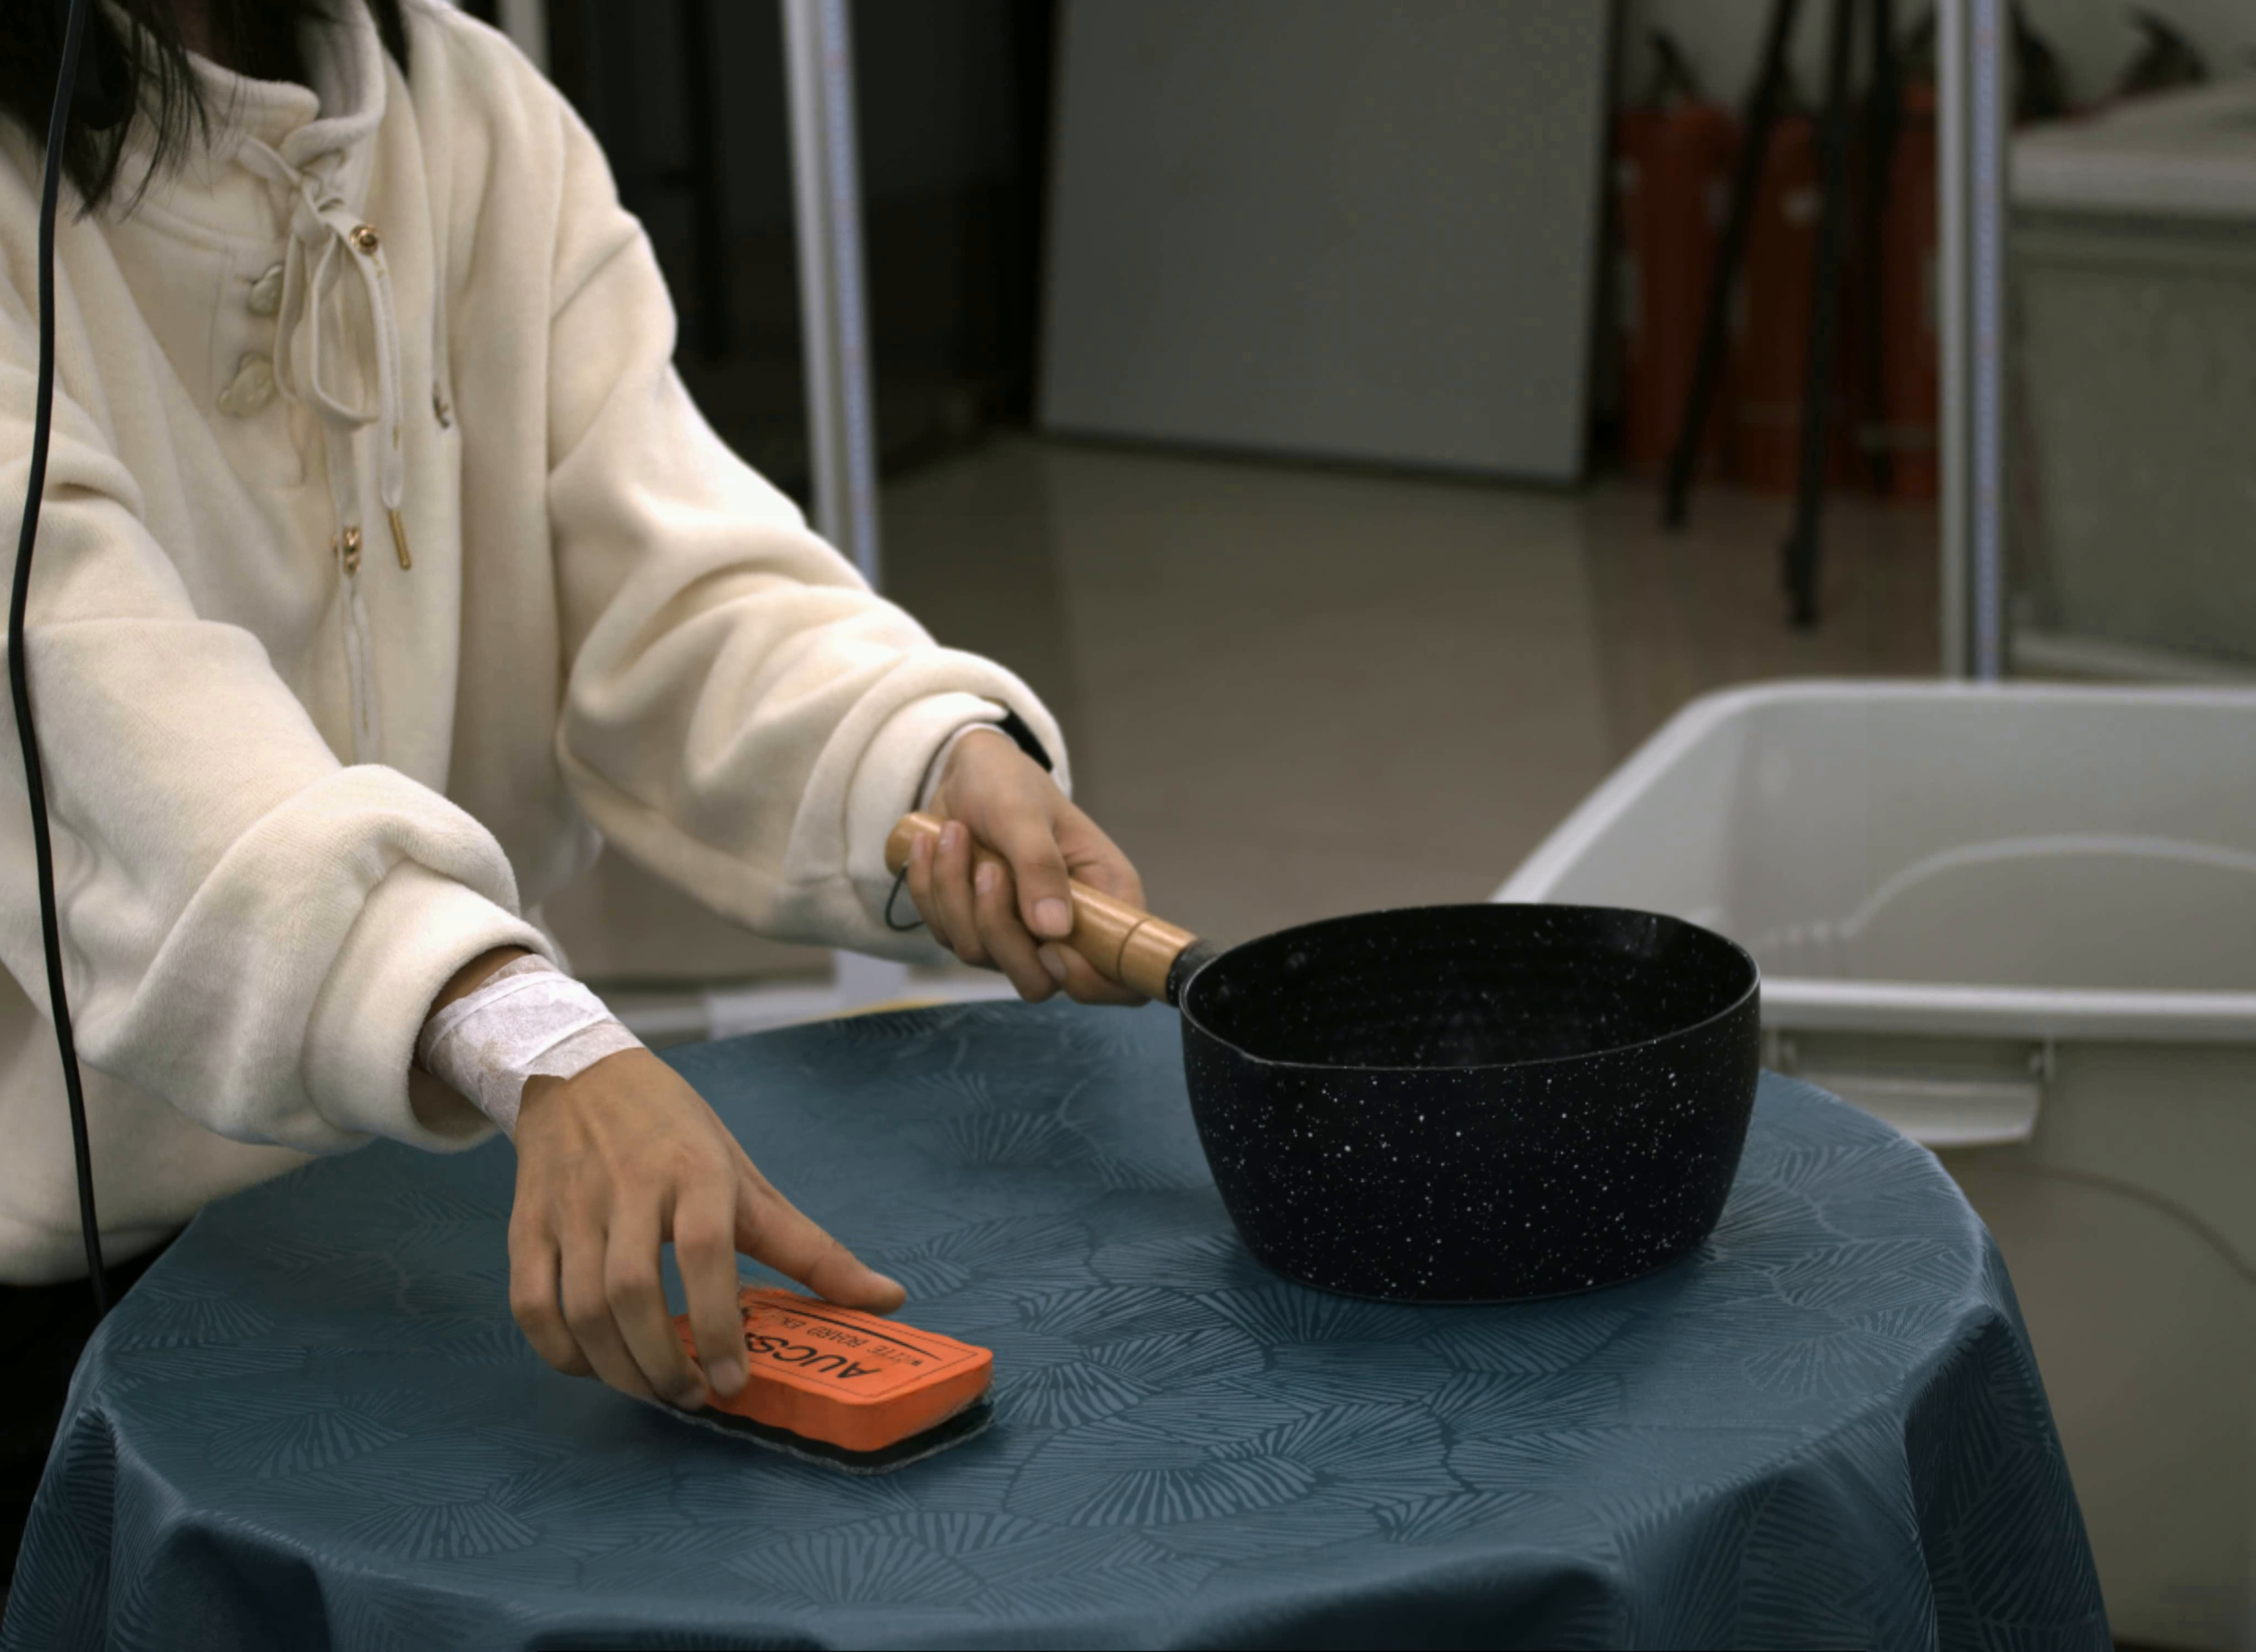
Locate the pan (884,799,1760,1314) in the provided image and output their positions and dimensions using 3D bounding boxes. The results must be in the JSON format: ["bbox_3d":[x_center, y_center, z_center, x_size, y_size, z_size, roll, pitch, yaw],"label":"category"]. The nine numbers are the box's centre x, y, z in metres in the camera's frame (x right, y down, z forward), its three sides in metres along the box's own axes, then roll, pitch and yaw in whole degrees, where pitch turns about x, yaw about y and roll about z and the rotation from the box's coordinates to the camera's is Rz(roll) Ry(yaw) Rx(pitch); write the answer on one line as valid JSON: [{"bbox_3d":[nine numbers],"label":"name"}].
[{"bbox_3d":[0.048,0.067,1.746,0.345,0.109,0.203,10,21,40],"label":"pan"}]

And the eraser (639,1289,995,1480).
[{"bbox_3d":[-0.091,0.162,1.580,0.058,0.023,0.109,-18,19,-39],"label":"eraser"}]
